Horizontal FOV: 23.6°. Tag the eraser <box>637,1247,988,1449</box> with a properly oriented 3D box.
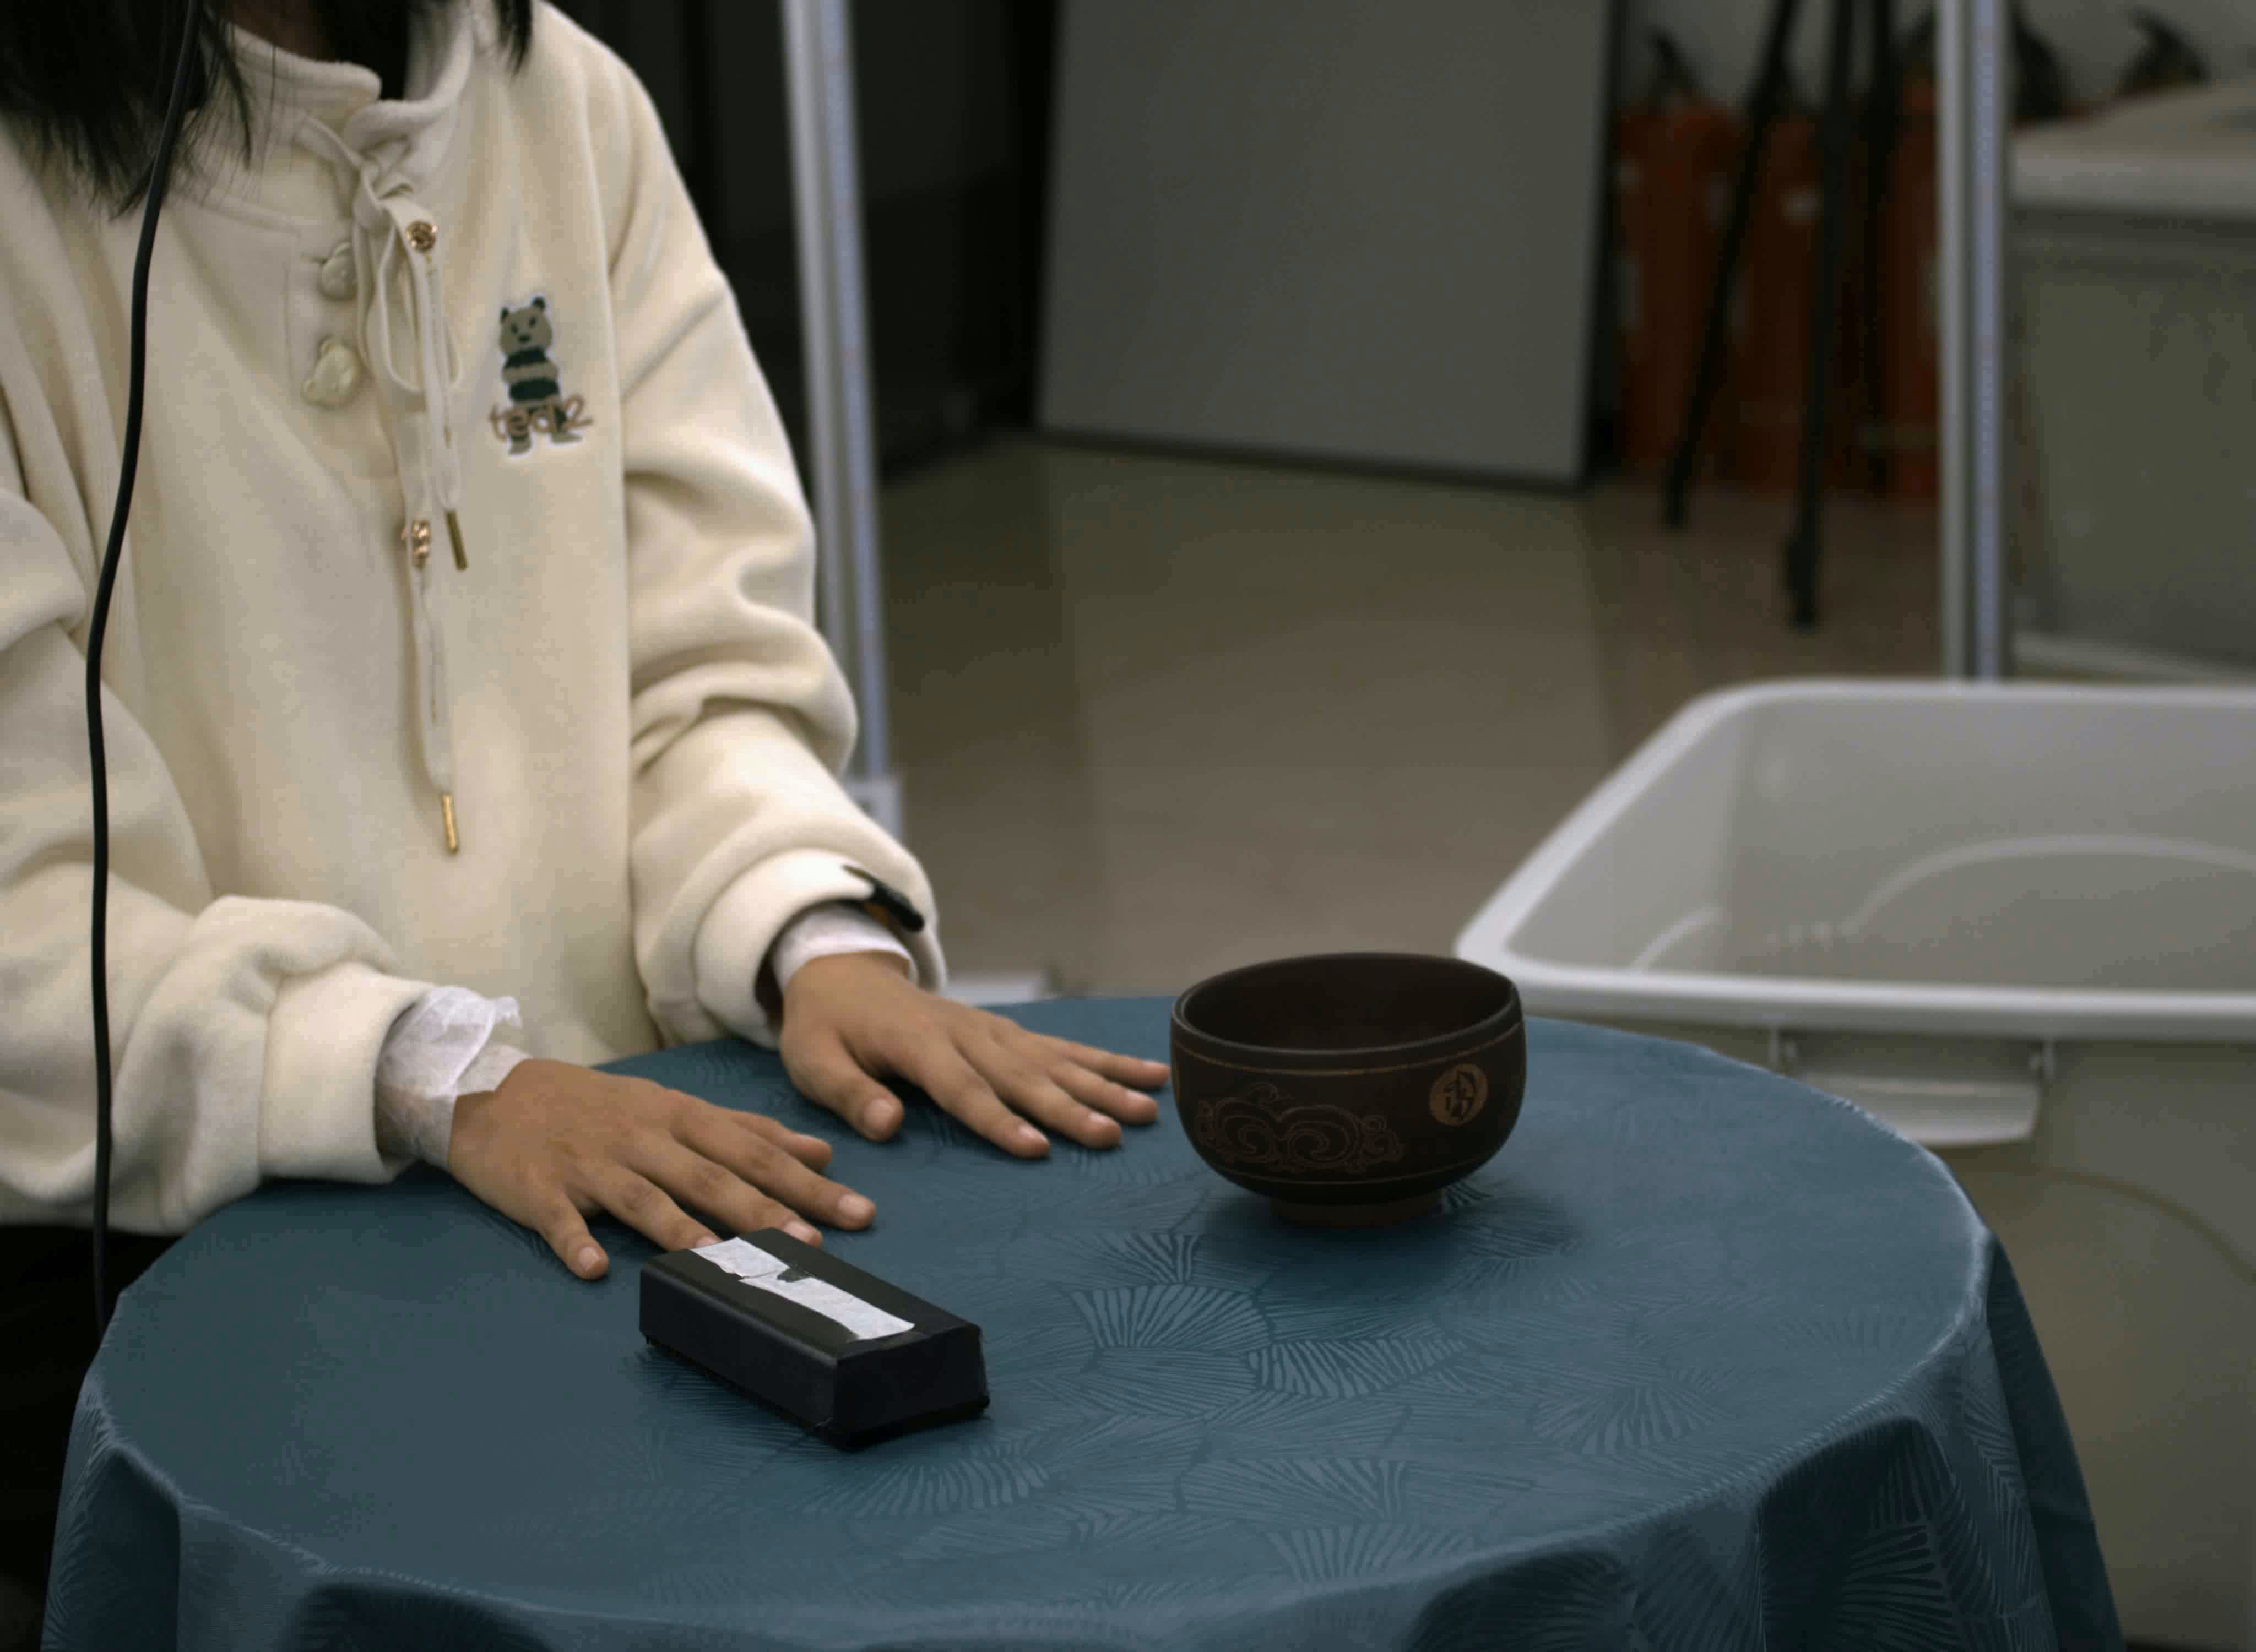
[{"bbox_3d":[-0.094,0.154,1.608,0.052,0.031,0.127,-11,13,-31],"label":"eraser"}]

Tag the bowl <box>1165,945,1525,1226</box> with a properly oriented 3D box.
[{"bbox_3d":[0.071,0.087,1.735,0.116,0.070,0.118,-5,13,0],"label":"bowl"}]
